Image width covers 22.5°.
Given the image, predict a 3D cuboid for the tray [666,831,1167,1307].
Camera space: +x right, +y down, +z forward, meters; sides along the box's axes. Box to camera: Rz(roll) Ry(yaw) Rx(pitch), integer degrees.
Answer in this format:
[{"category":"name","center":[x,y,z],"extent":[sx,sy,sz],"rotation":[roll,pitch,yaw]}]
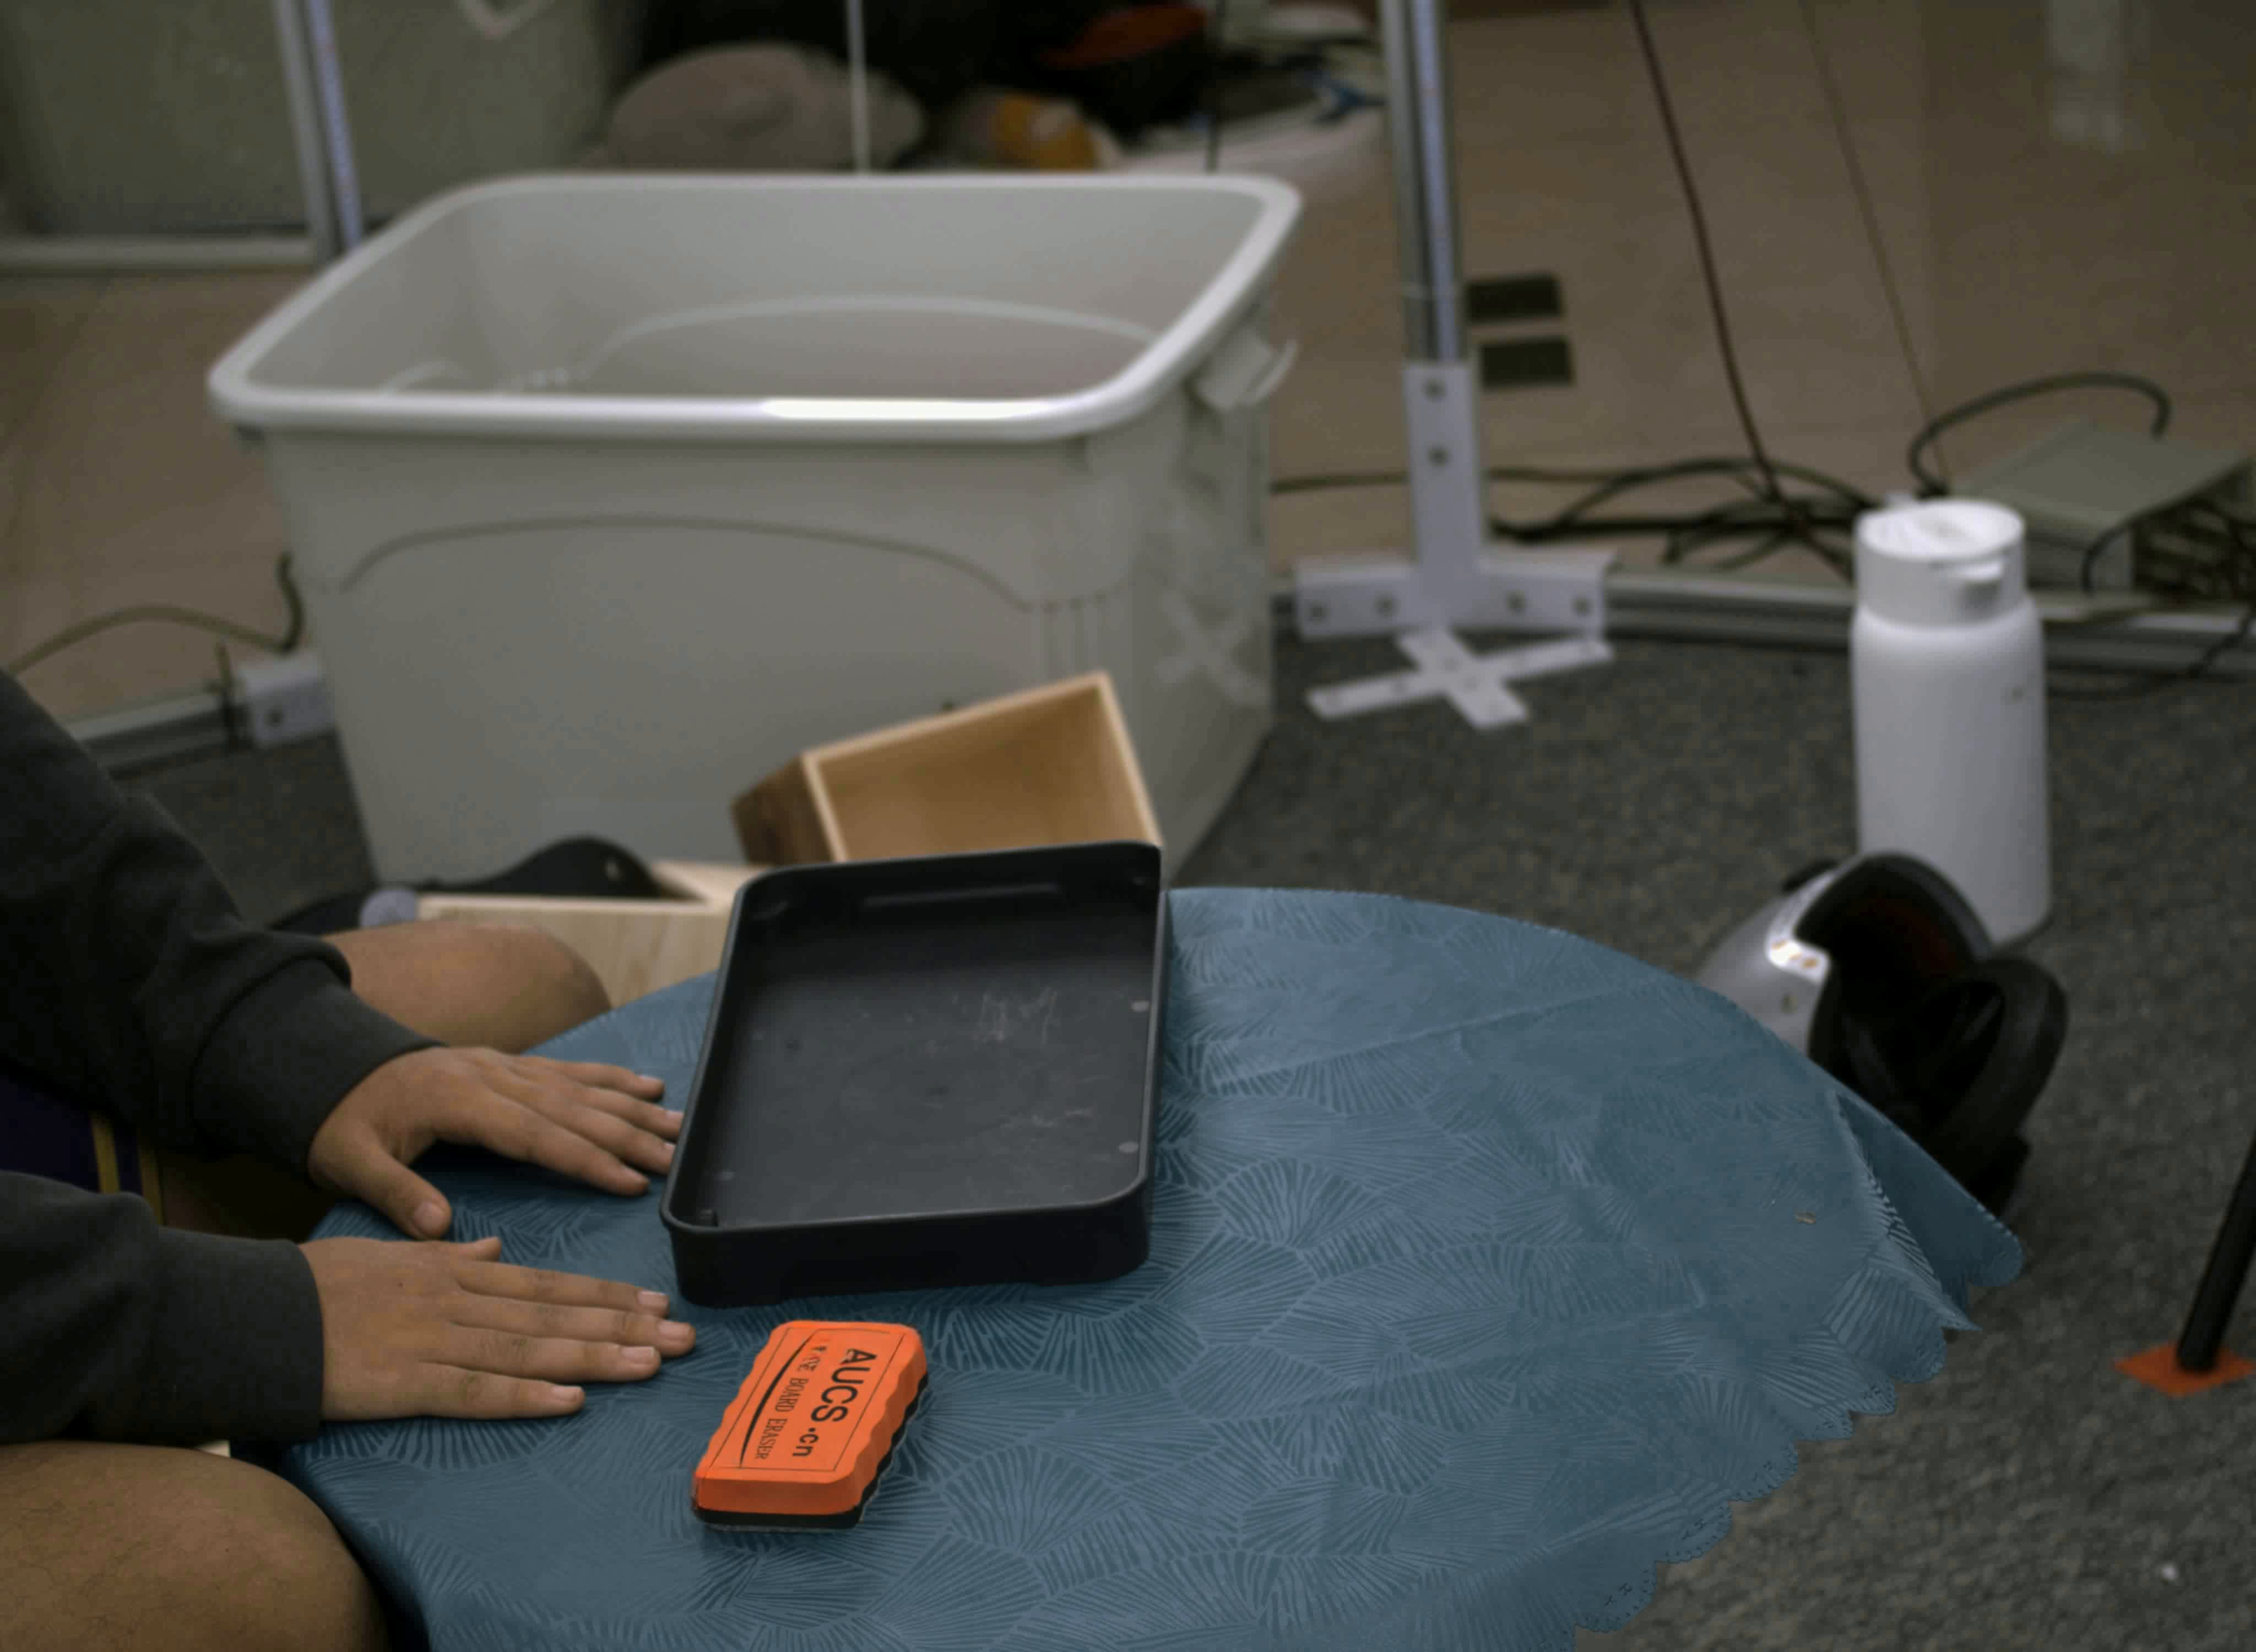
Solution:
[{"category":"tray","center":[-0.076,0.091,2.228],"extent":[0.184,0.037,0.313],"rotation":[-5,25,4]}]

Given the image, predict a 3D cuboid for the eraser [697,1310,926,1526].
[{"category":"eraser","center":[-0.110,0.207,1.992],"extent":[0.059,0.023,0.106],"rotation":[-5,25,17]}]
